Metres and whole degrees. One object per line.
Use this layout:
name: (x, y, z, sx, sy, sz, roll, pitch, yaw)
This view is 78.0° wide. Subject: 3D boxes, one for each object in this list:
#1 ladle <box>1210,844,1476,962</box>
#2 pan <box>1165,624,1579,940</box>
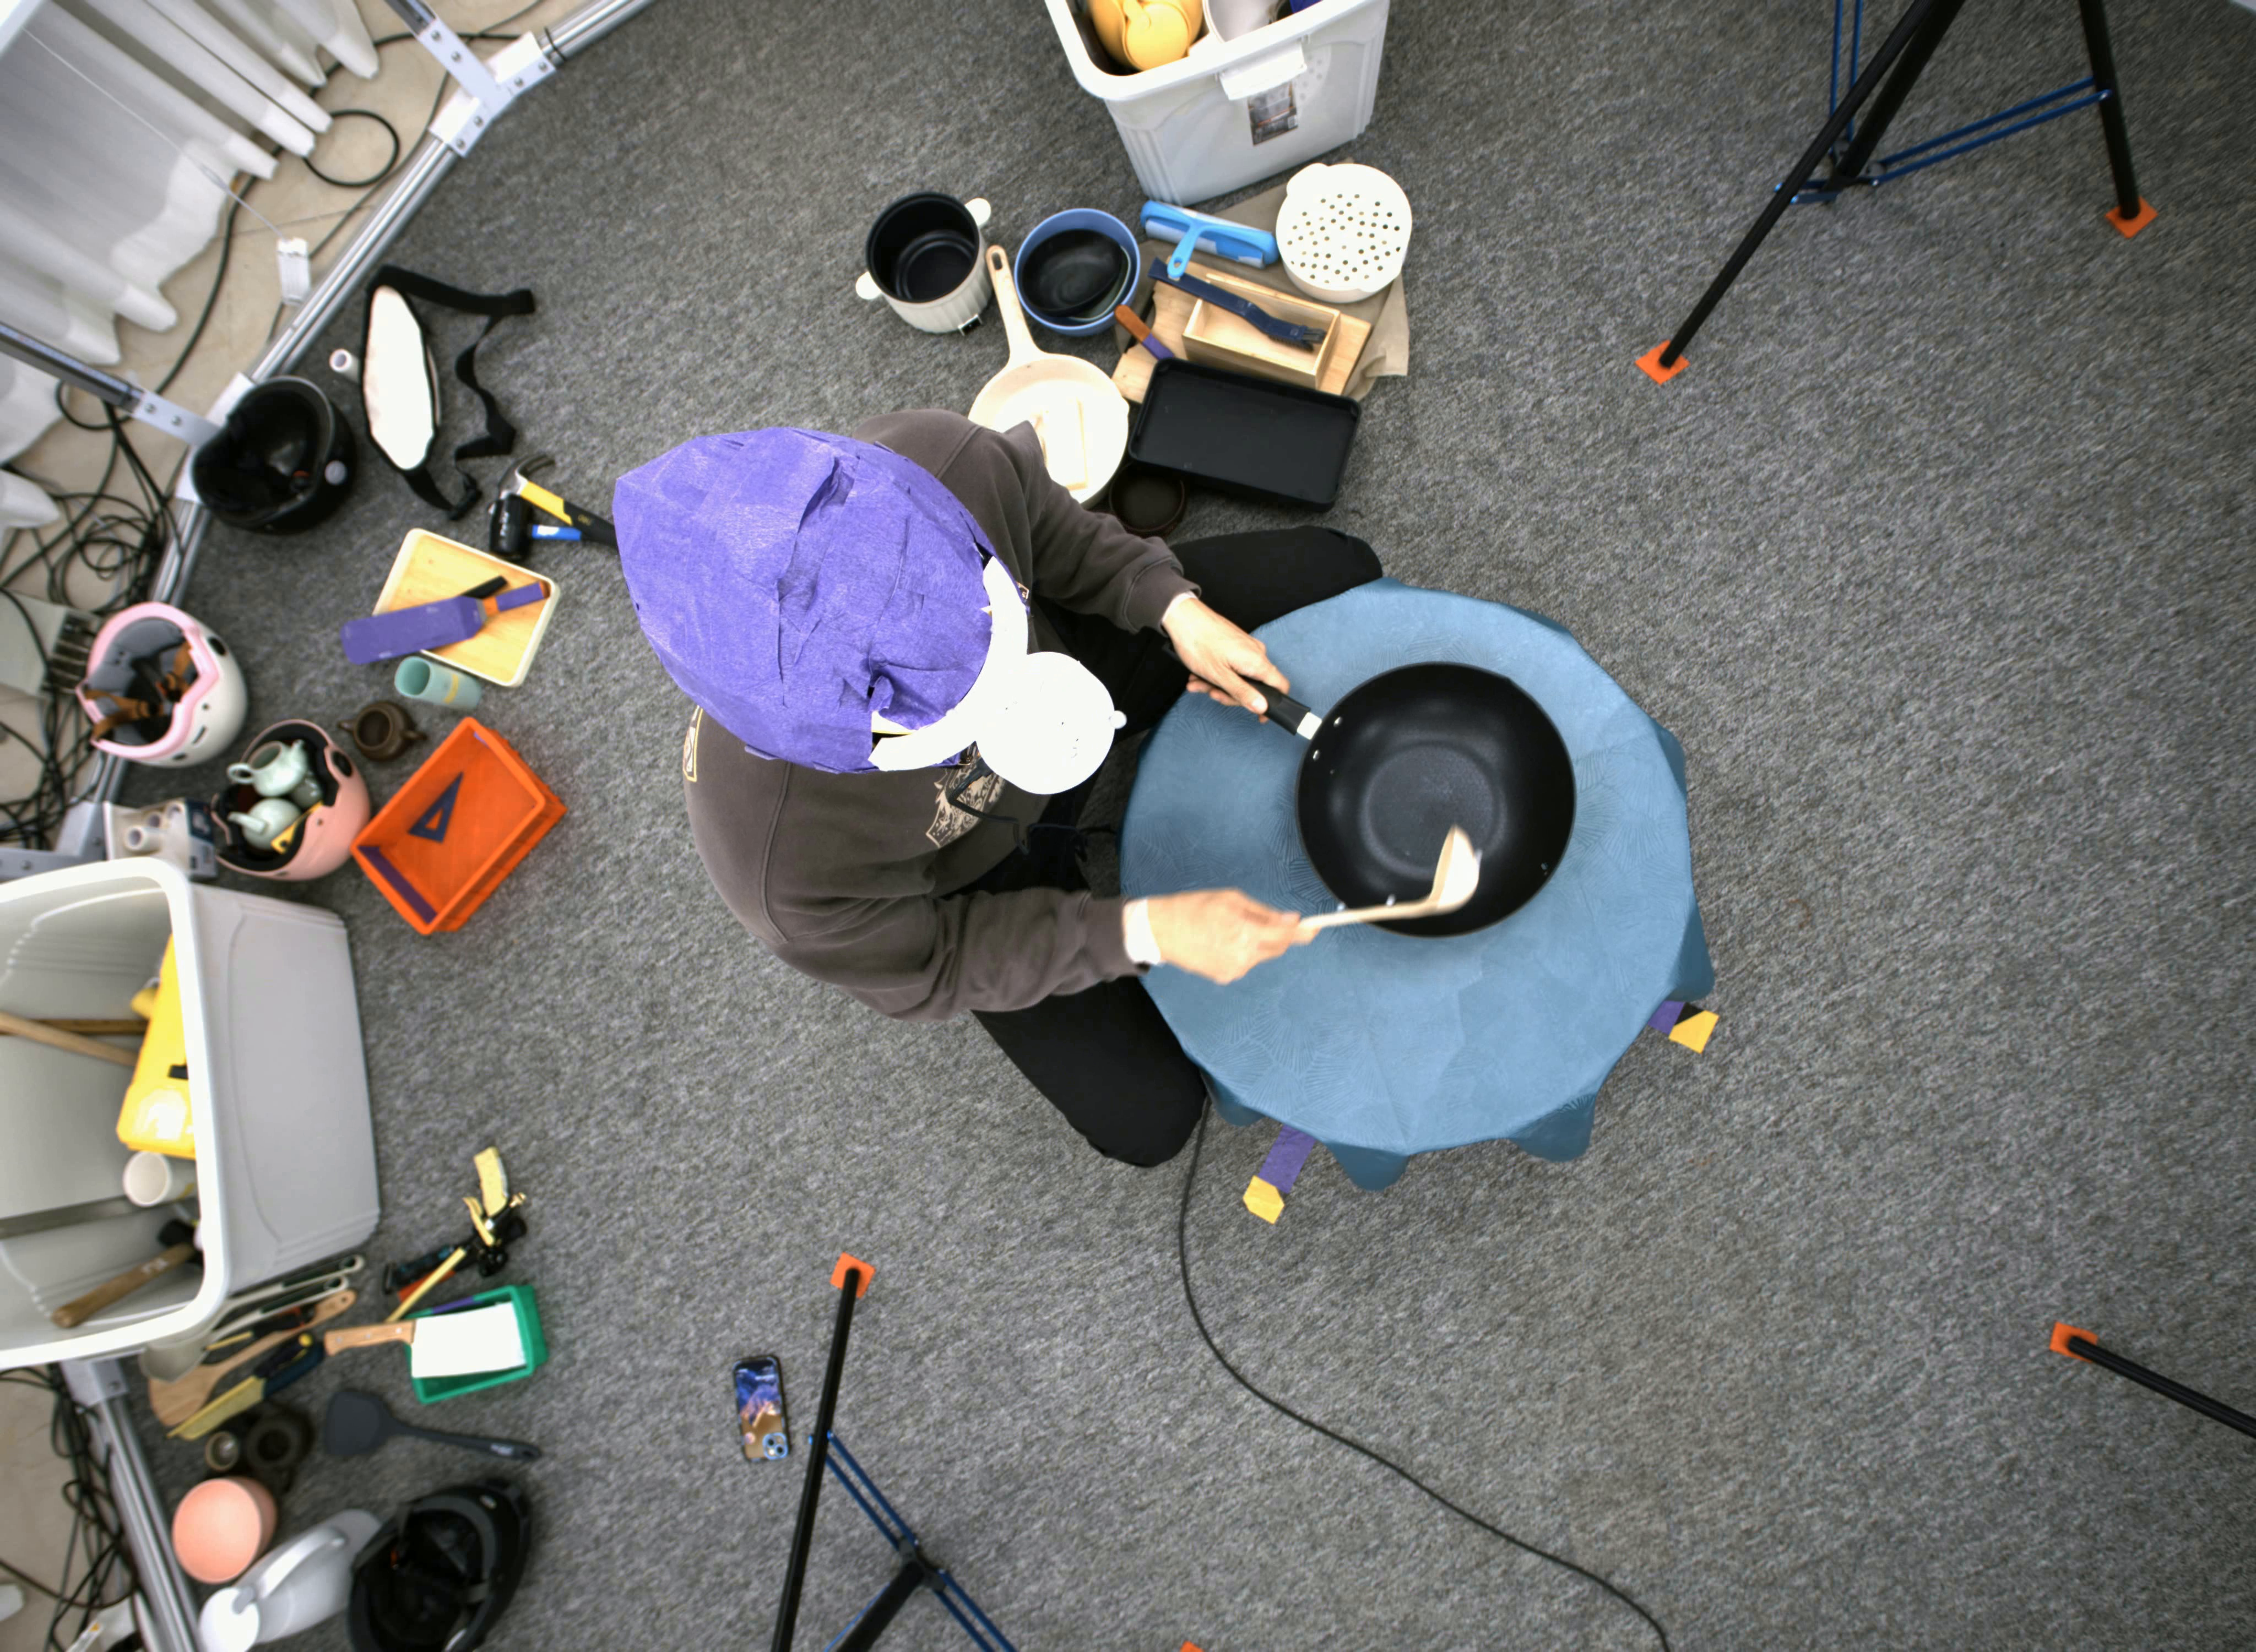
ladle: (0.194, 0.071, 1.290, 0.256, 0.070, 0.074, -11, 112, 9)
pan: (0.237, -0.072, 1.429, 0.462, 0.087, 0.289, 32, 93, 11)
